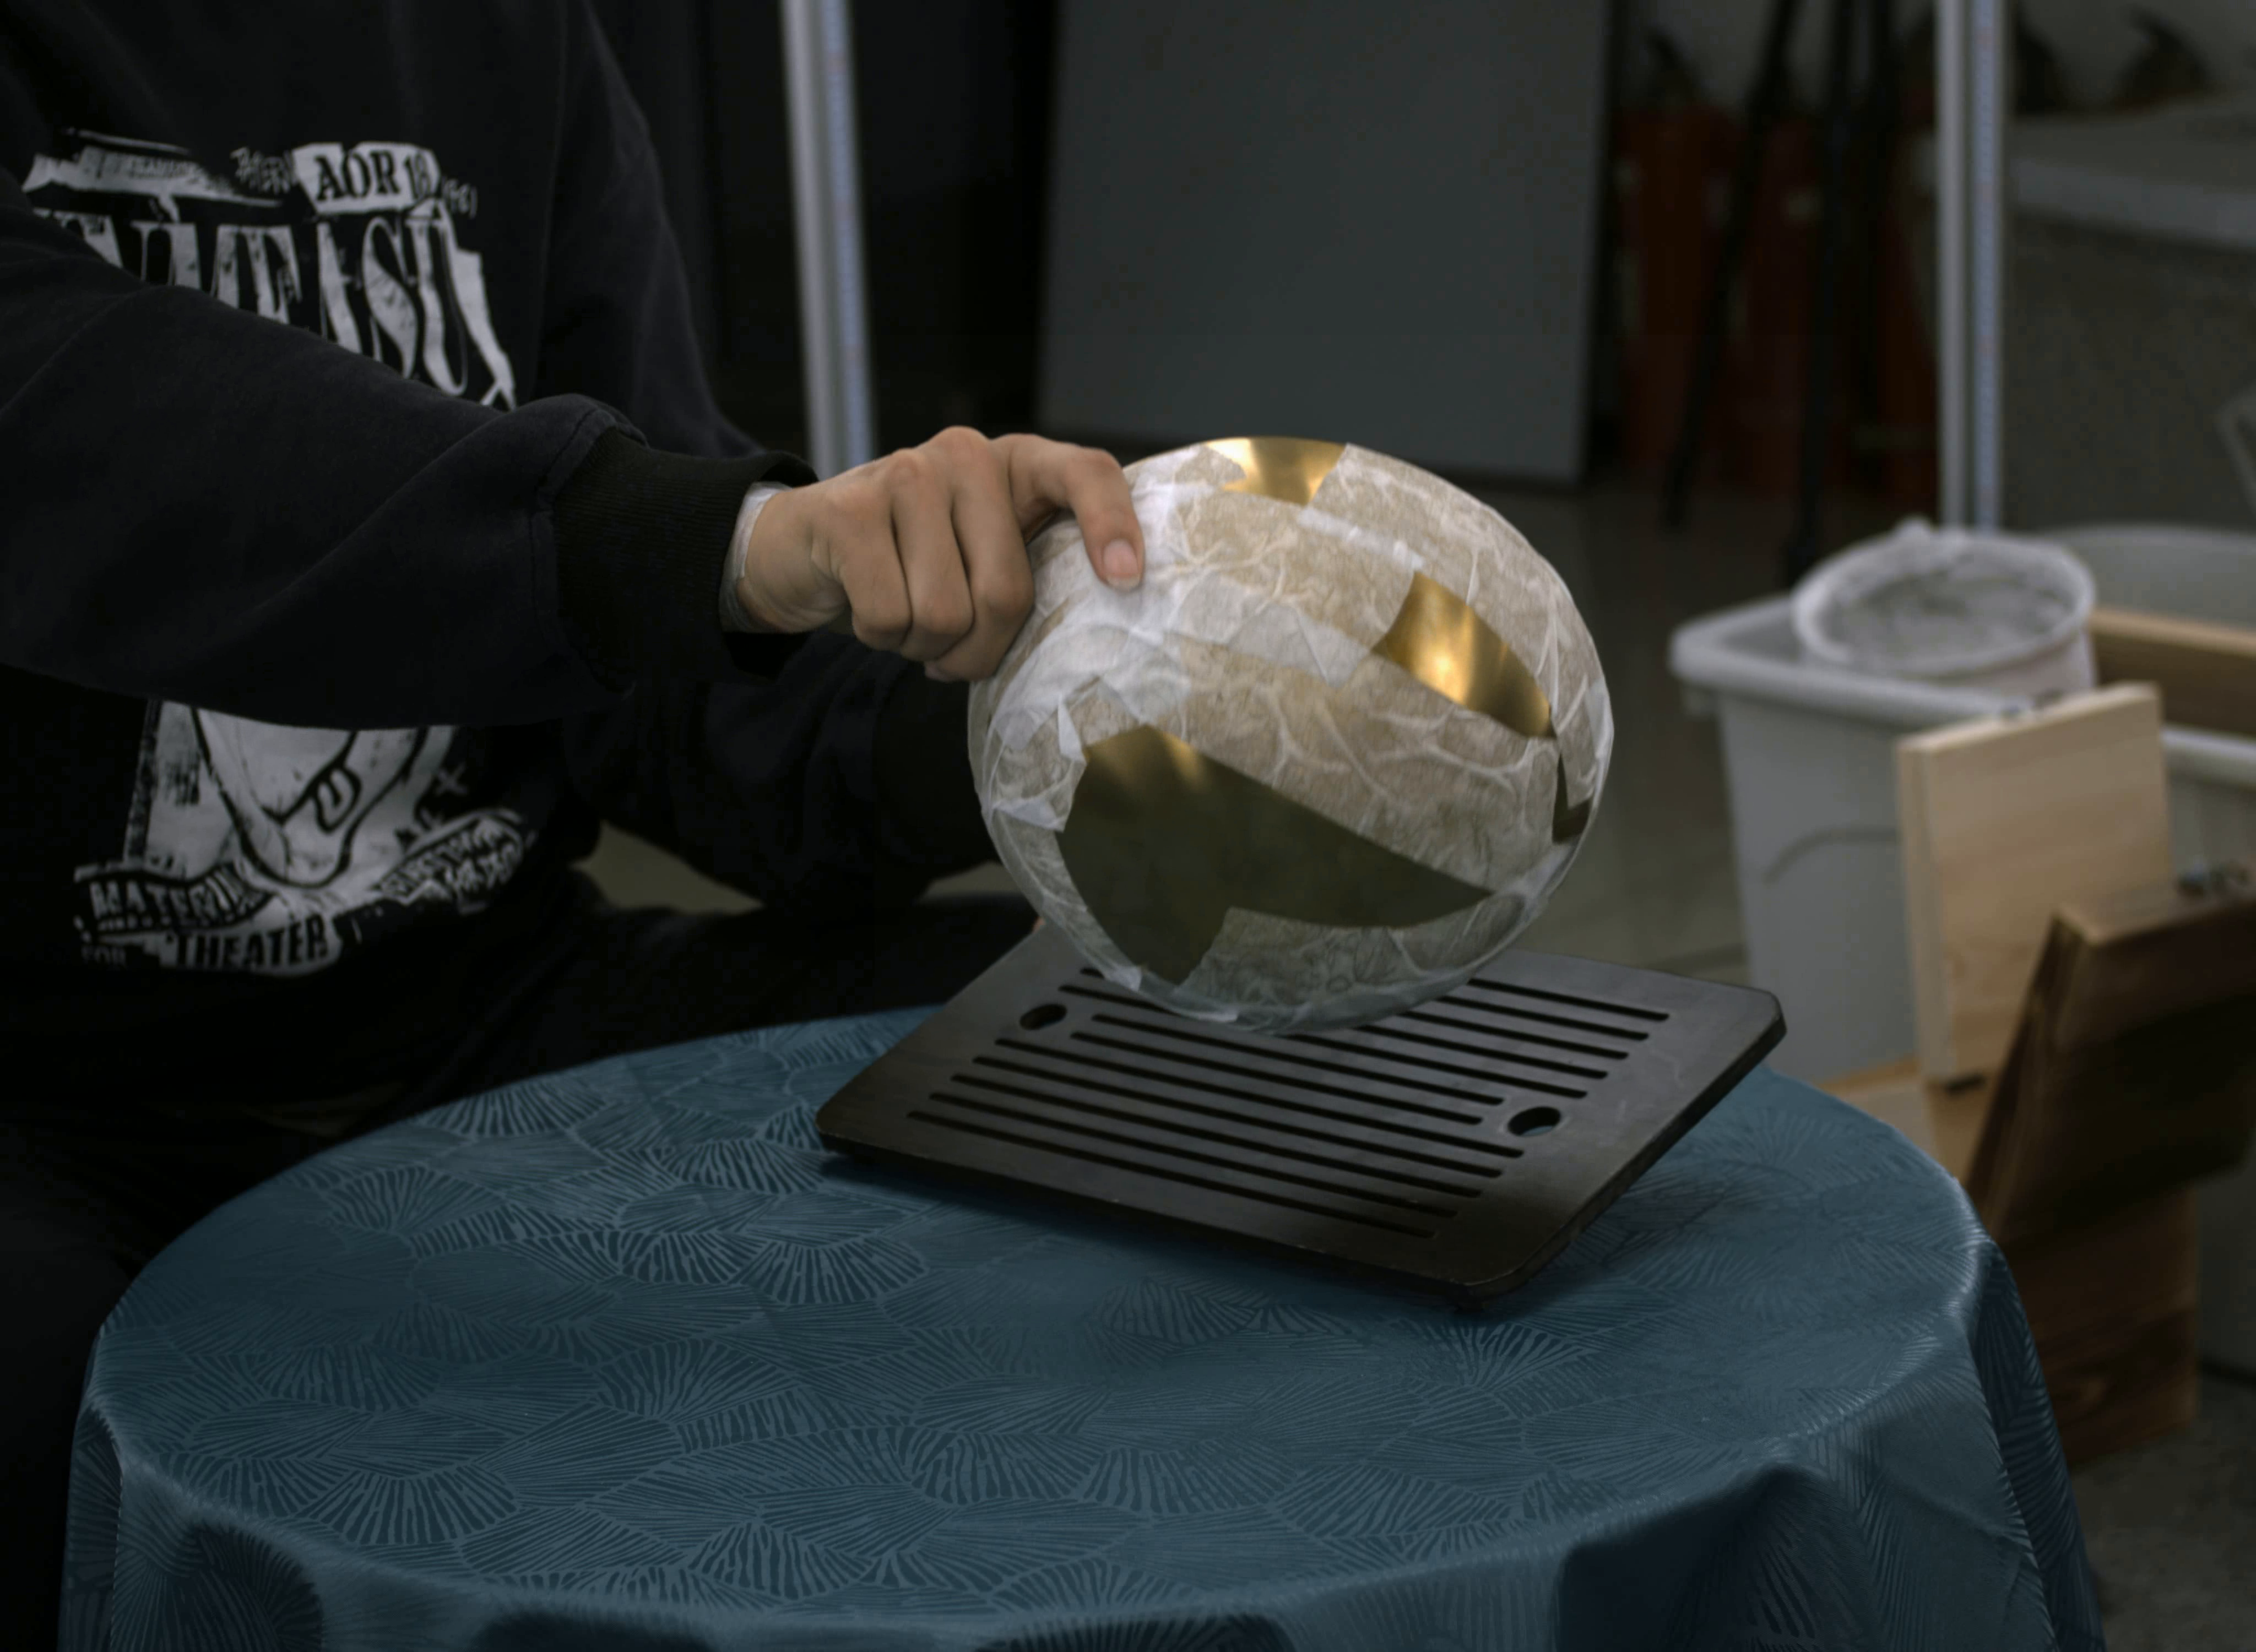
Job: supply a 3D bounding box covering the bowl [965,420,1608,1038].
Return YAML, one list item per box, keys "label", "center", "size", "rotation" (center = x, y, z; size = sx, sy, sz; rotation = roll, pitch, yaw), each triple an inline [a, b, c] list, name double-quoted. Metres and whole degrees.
- label: "bowl"
  center: [0.040, -0.009, 1.636]
  size: [0.213, 0.216, 0.094]
  rotation: [0, 34, 13]

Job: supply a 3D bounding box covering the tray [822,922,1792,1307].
- label: "tray"
  center: [0.055, 0.084, 1.769]
  size: [0.308, 0.018, 0.168]
  rotation: [9, 37, 43]
